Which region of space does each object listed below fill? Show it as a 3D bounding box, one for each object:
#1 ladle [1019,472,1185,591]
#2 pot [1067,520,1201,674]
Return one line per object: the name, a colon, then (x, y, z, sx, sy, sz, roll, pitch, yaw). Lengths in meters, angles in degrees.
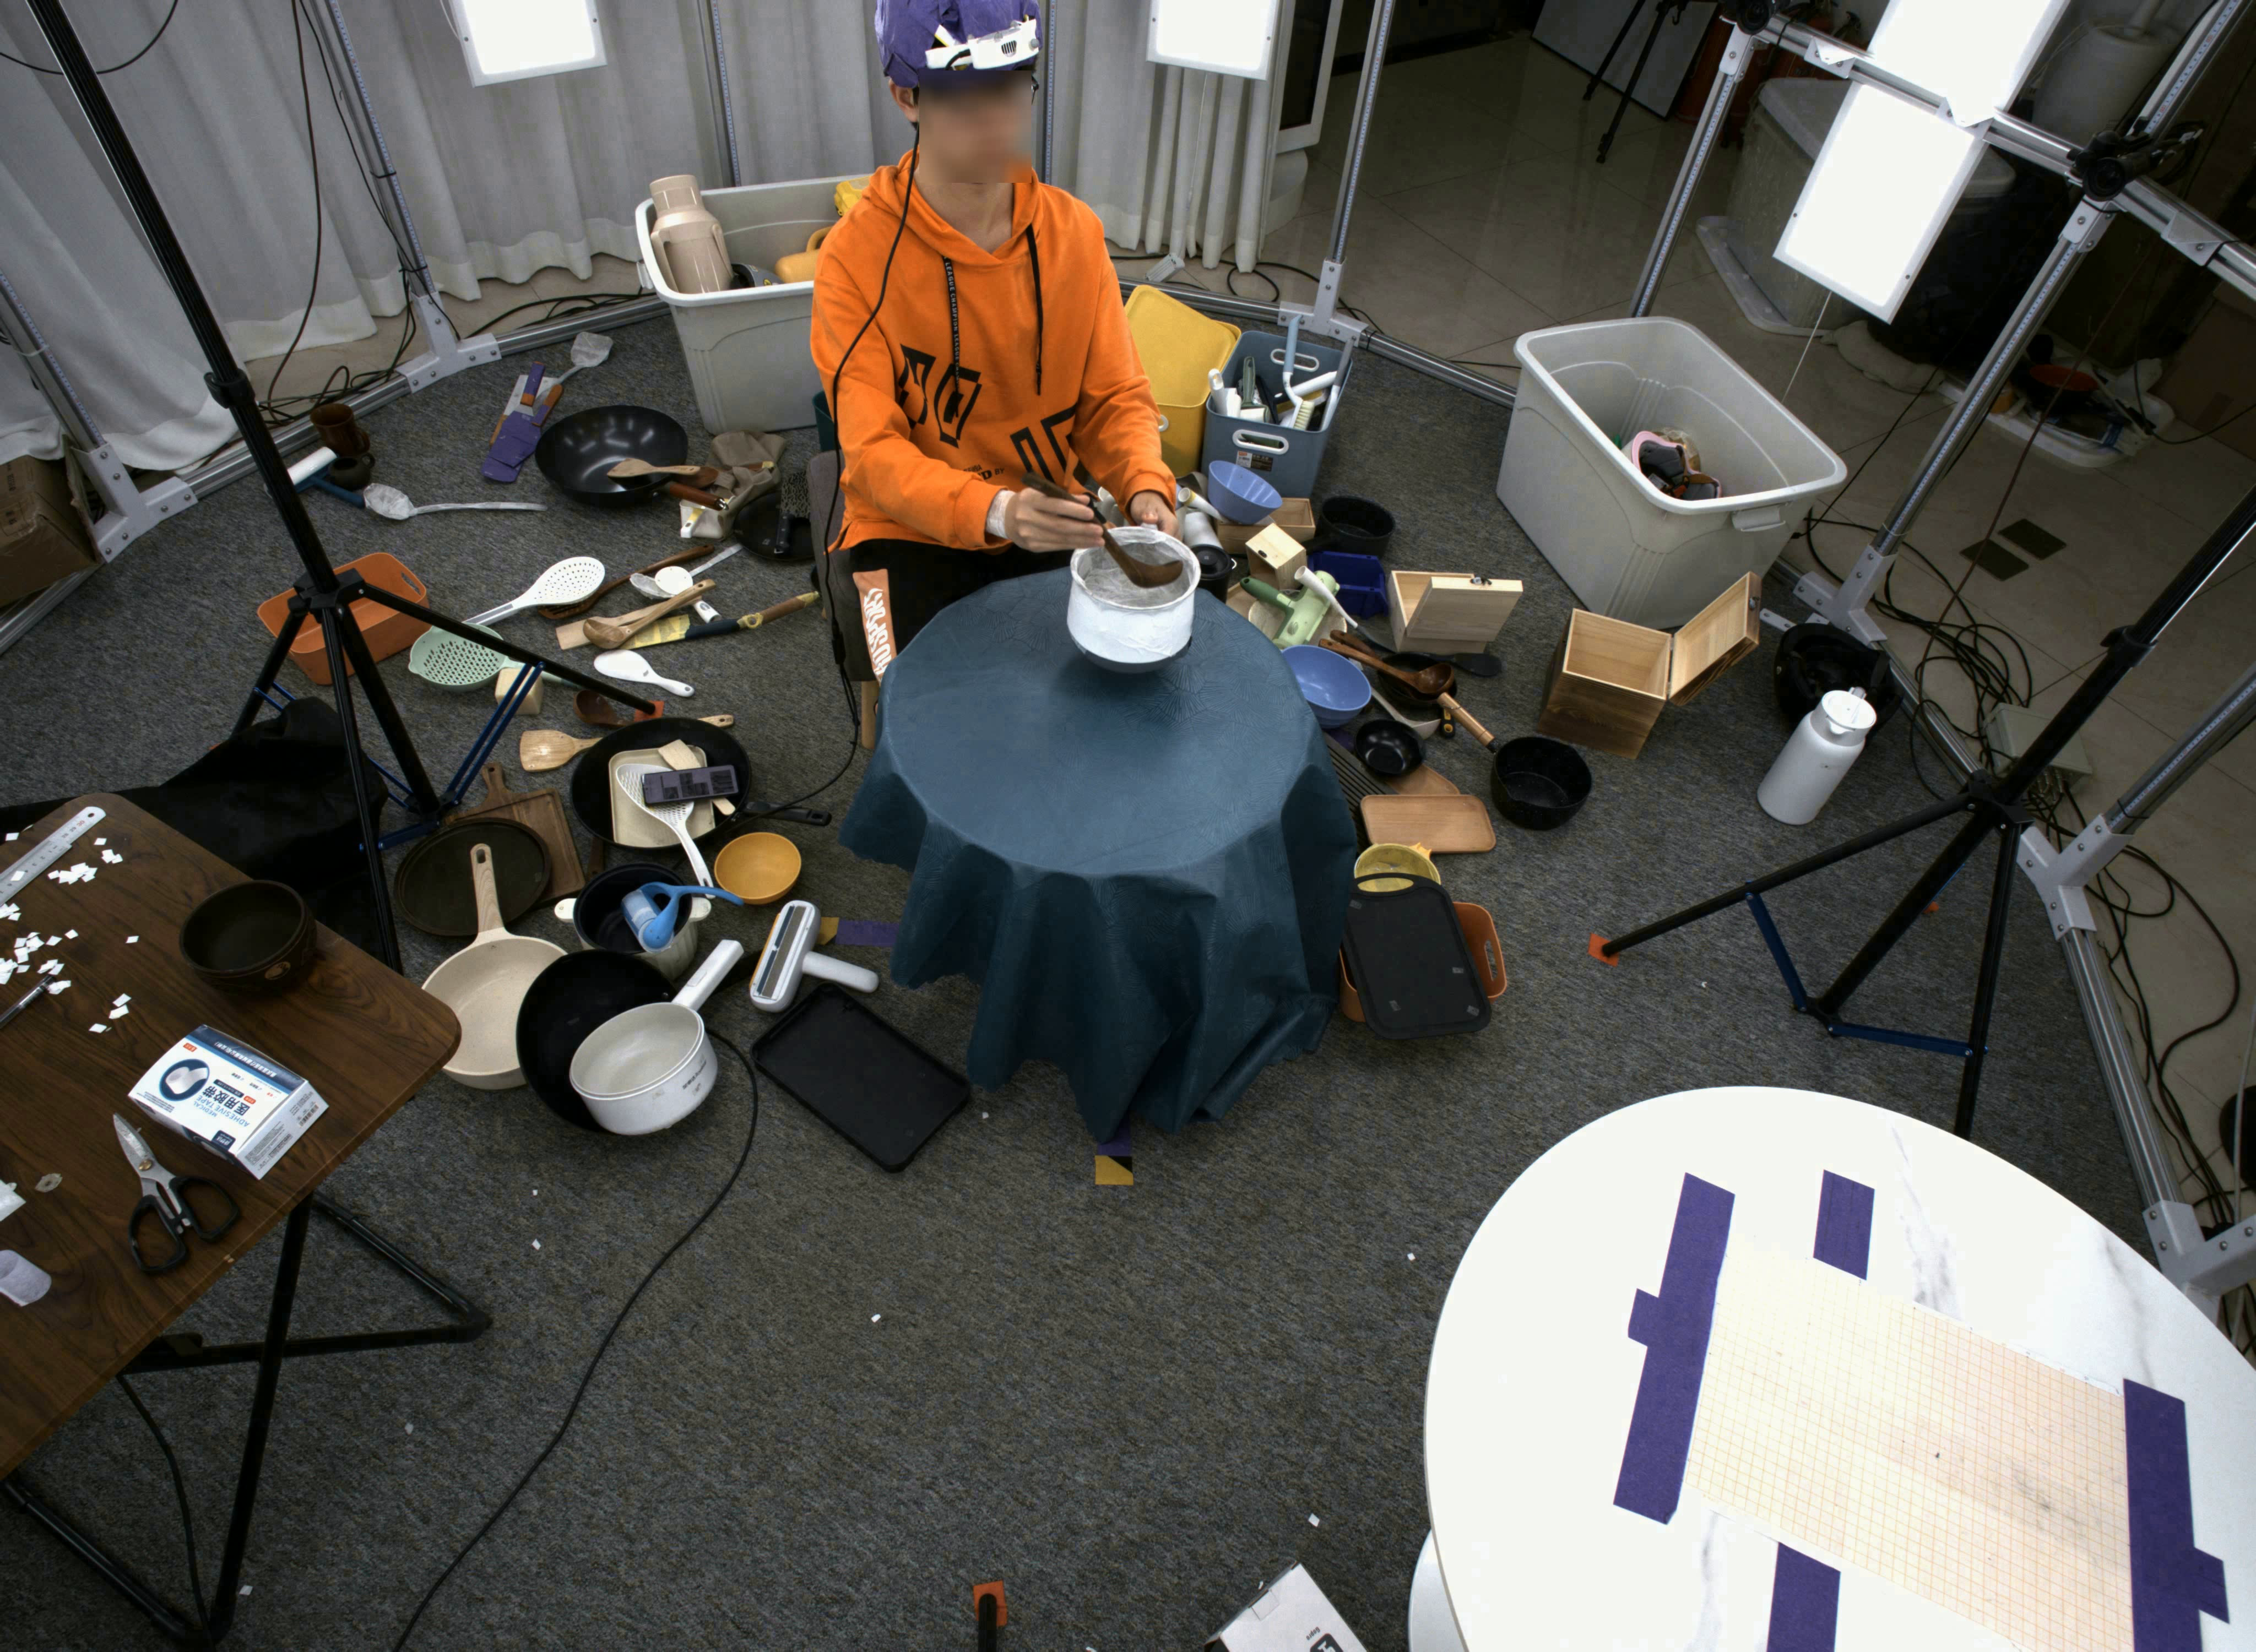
ladle: (-0.030, -0.396, 1.684, 0.076, 0.269, 0.072, -11, 53, 45)
pot: (0.010, -0.330, 1.805, 0.179, 0.133, 0.239, 10, 48, 3)
